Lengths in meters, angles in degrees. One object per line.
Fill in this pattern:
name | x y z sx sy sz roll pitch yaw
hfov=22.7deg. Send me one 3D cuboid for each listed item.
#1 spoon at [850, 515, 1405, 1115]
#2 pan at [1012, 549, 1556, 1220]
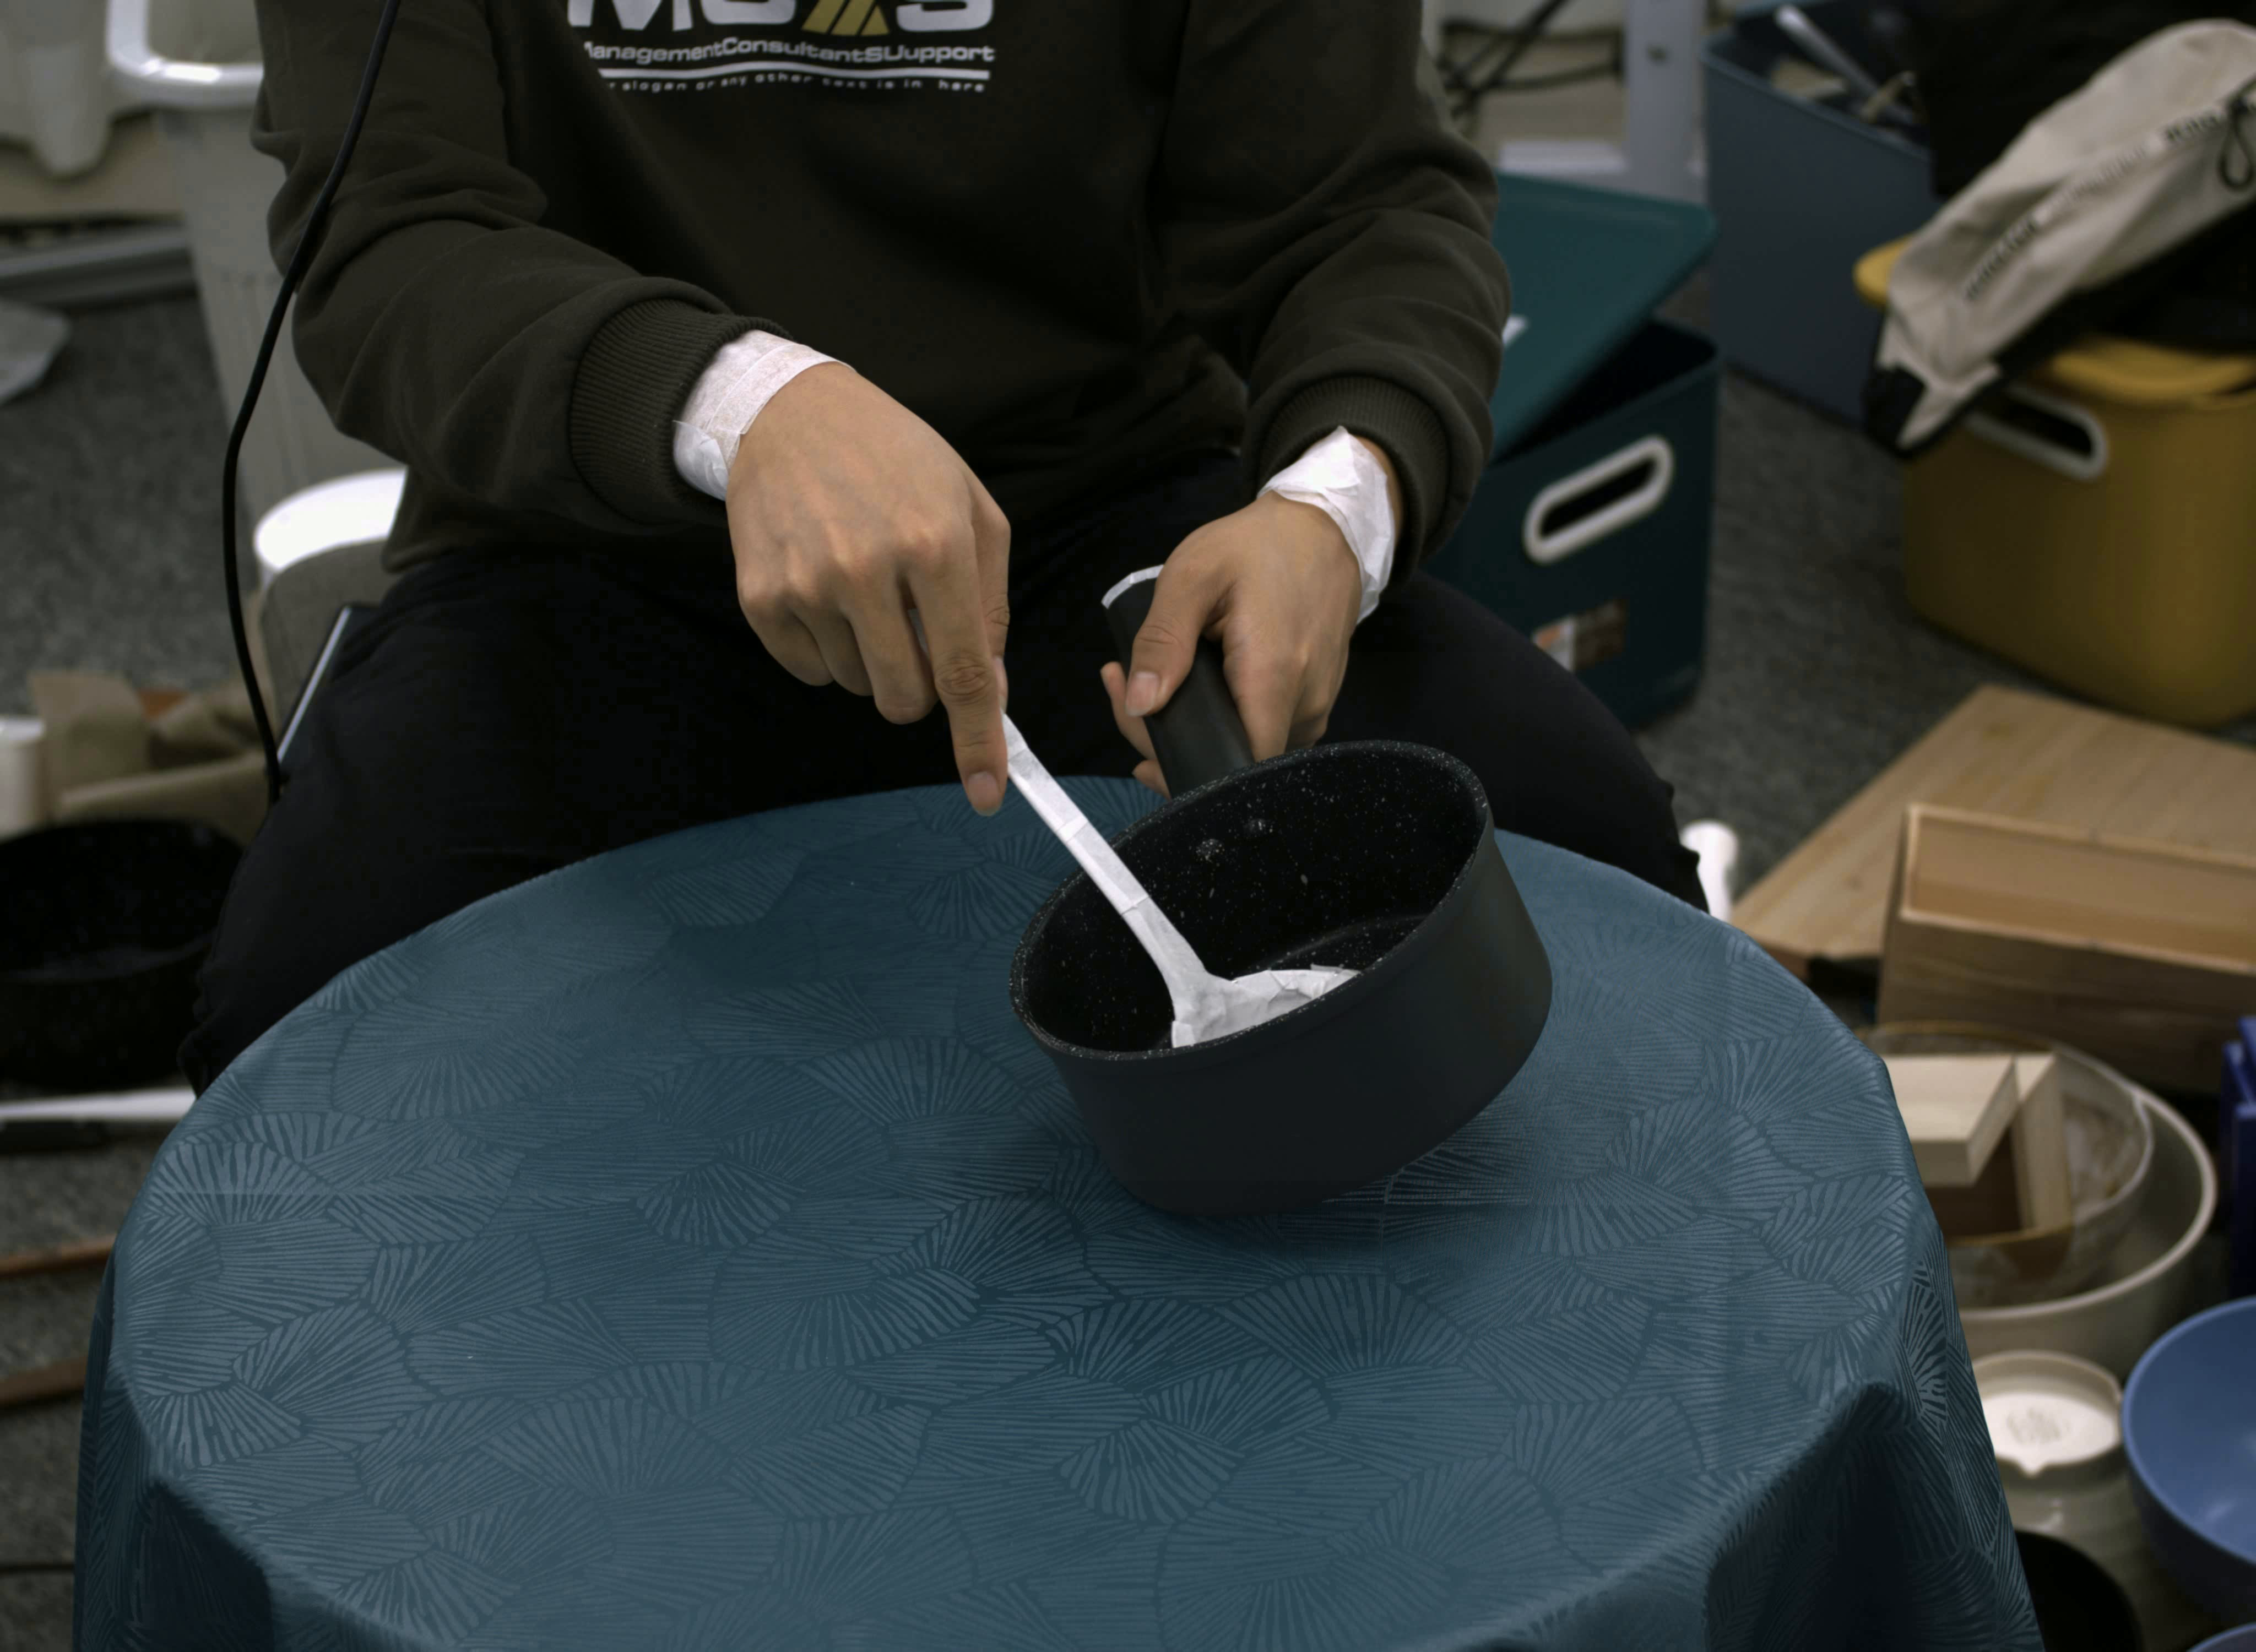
spoon | 0.003 -0.009 1.862 0.102 0.058 0.279 -20 69 -48
pan | 0.045 0.013 1.929 0.171 0.086 0.333 -22 28 6
